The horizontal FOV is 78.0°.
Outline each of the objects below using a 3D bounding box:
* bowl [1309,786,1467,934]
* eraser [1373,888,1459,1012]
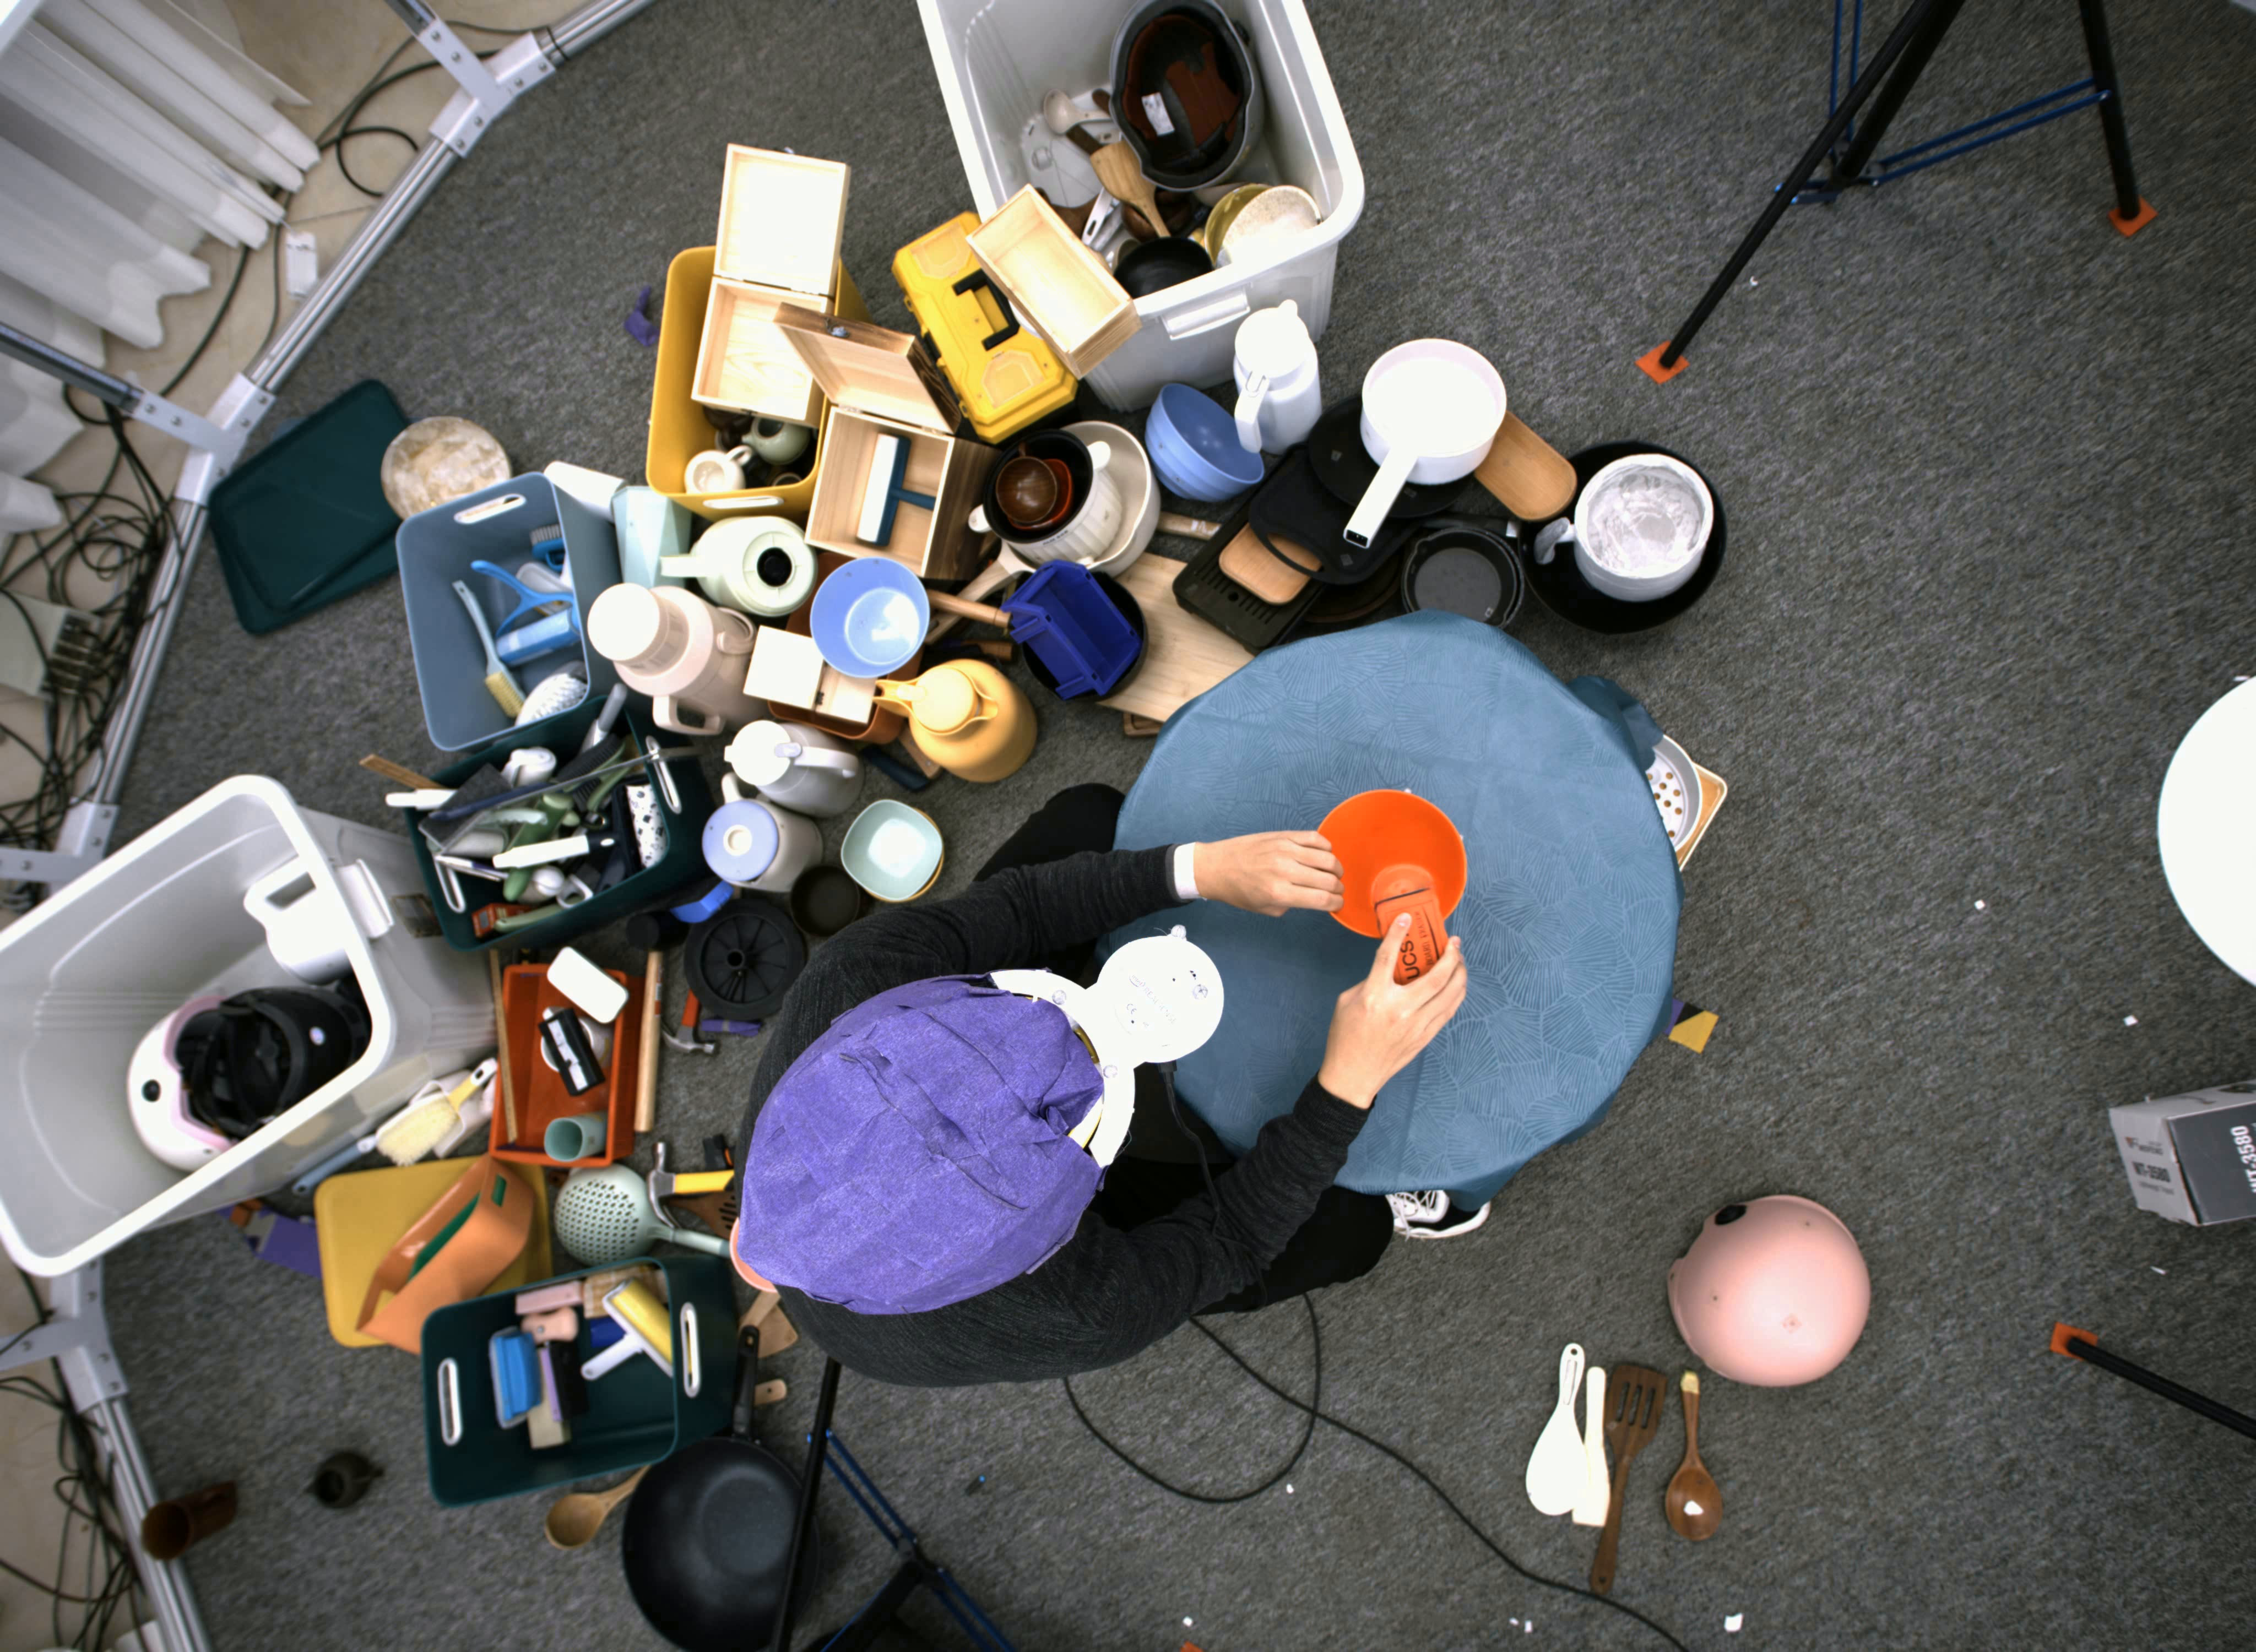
[{"bbox_3d":[0.258,0.044,1.347,0.149,0.106,0.145,-6,70,15],"label":"bowl"},{"bbox_3d":[0.267,0.114,1.279,0.059,0.022,0.109,-16,105,3],"label":"eraser"}]
